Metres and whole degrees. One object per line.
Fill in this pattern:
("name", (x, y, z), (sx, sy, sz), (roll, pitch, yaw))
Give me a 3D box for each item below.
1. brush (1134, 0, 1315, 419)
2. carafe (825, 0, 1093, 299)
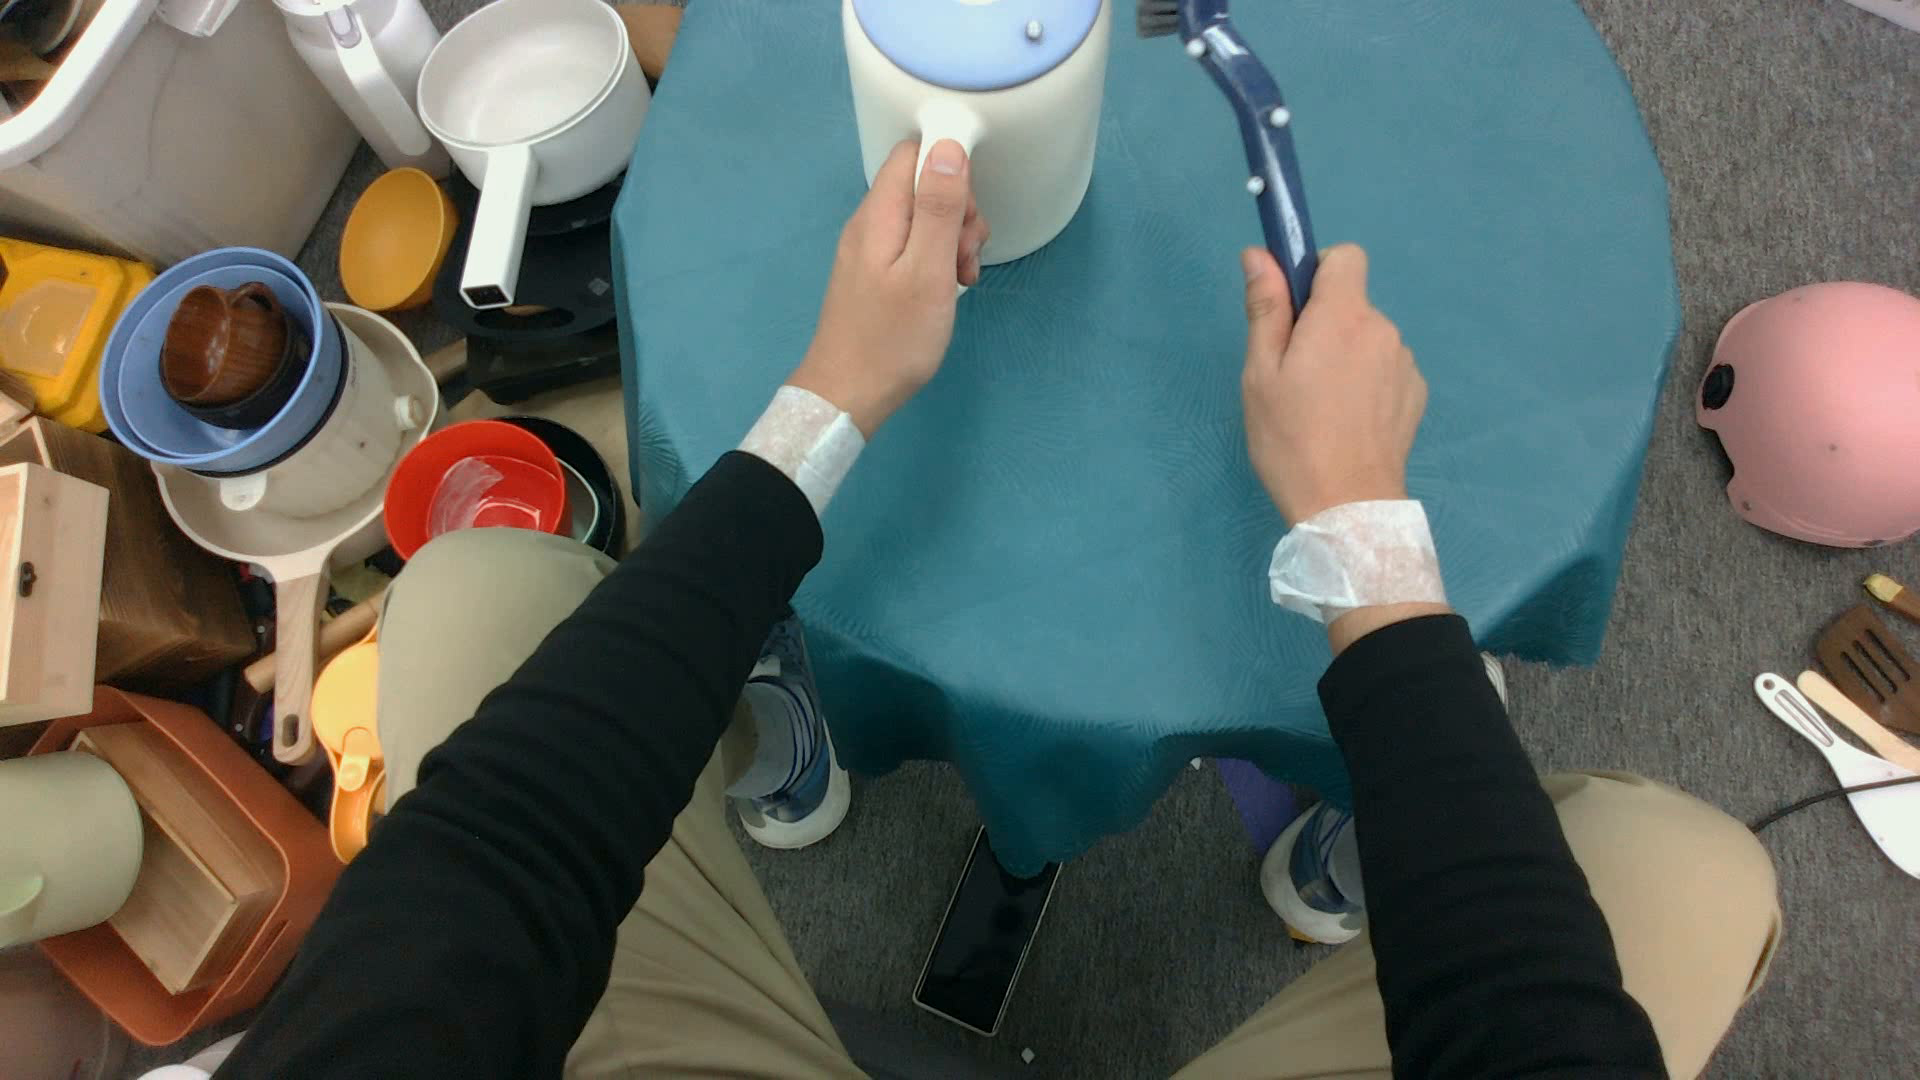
("brush", (0.141, -0.195, 0.641), (0.033, 0.095, 0.273), (-26, 99, -42))
("carafe", (-0.005, -0.223, 0.713), (0.132, 0.182, 0.191), (9, 76, 3))
